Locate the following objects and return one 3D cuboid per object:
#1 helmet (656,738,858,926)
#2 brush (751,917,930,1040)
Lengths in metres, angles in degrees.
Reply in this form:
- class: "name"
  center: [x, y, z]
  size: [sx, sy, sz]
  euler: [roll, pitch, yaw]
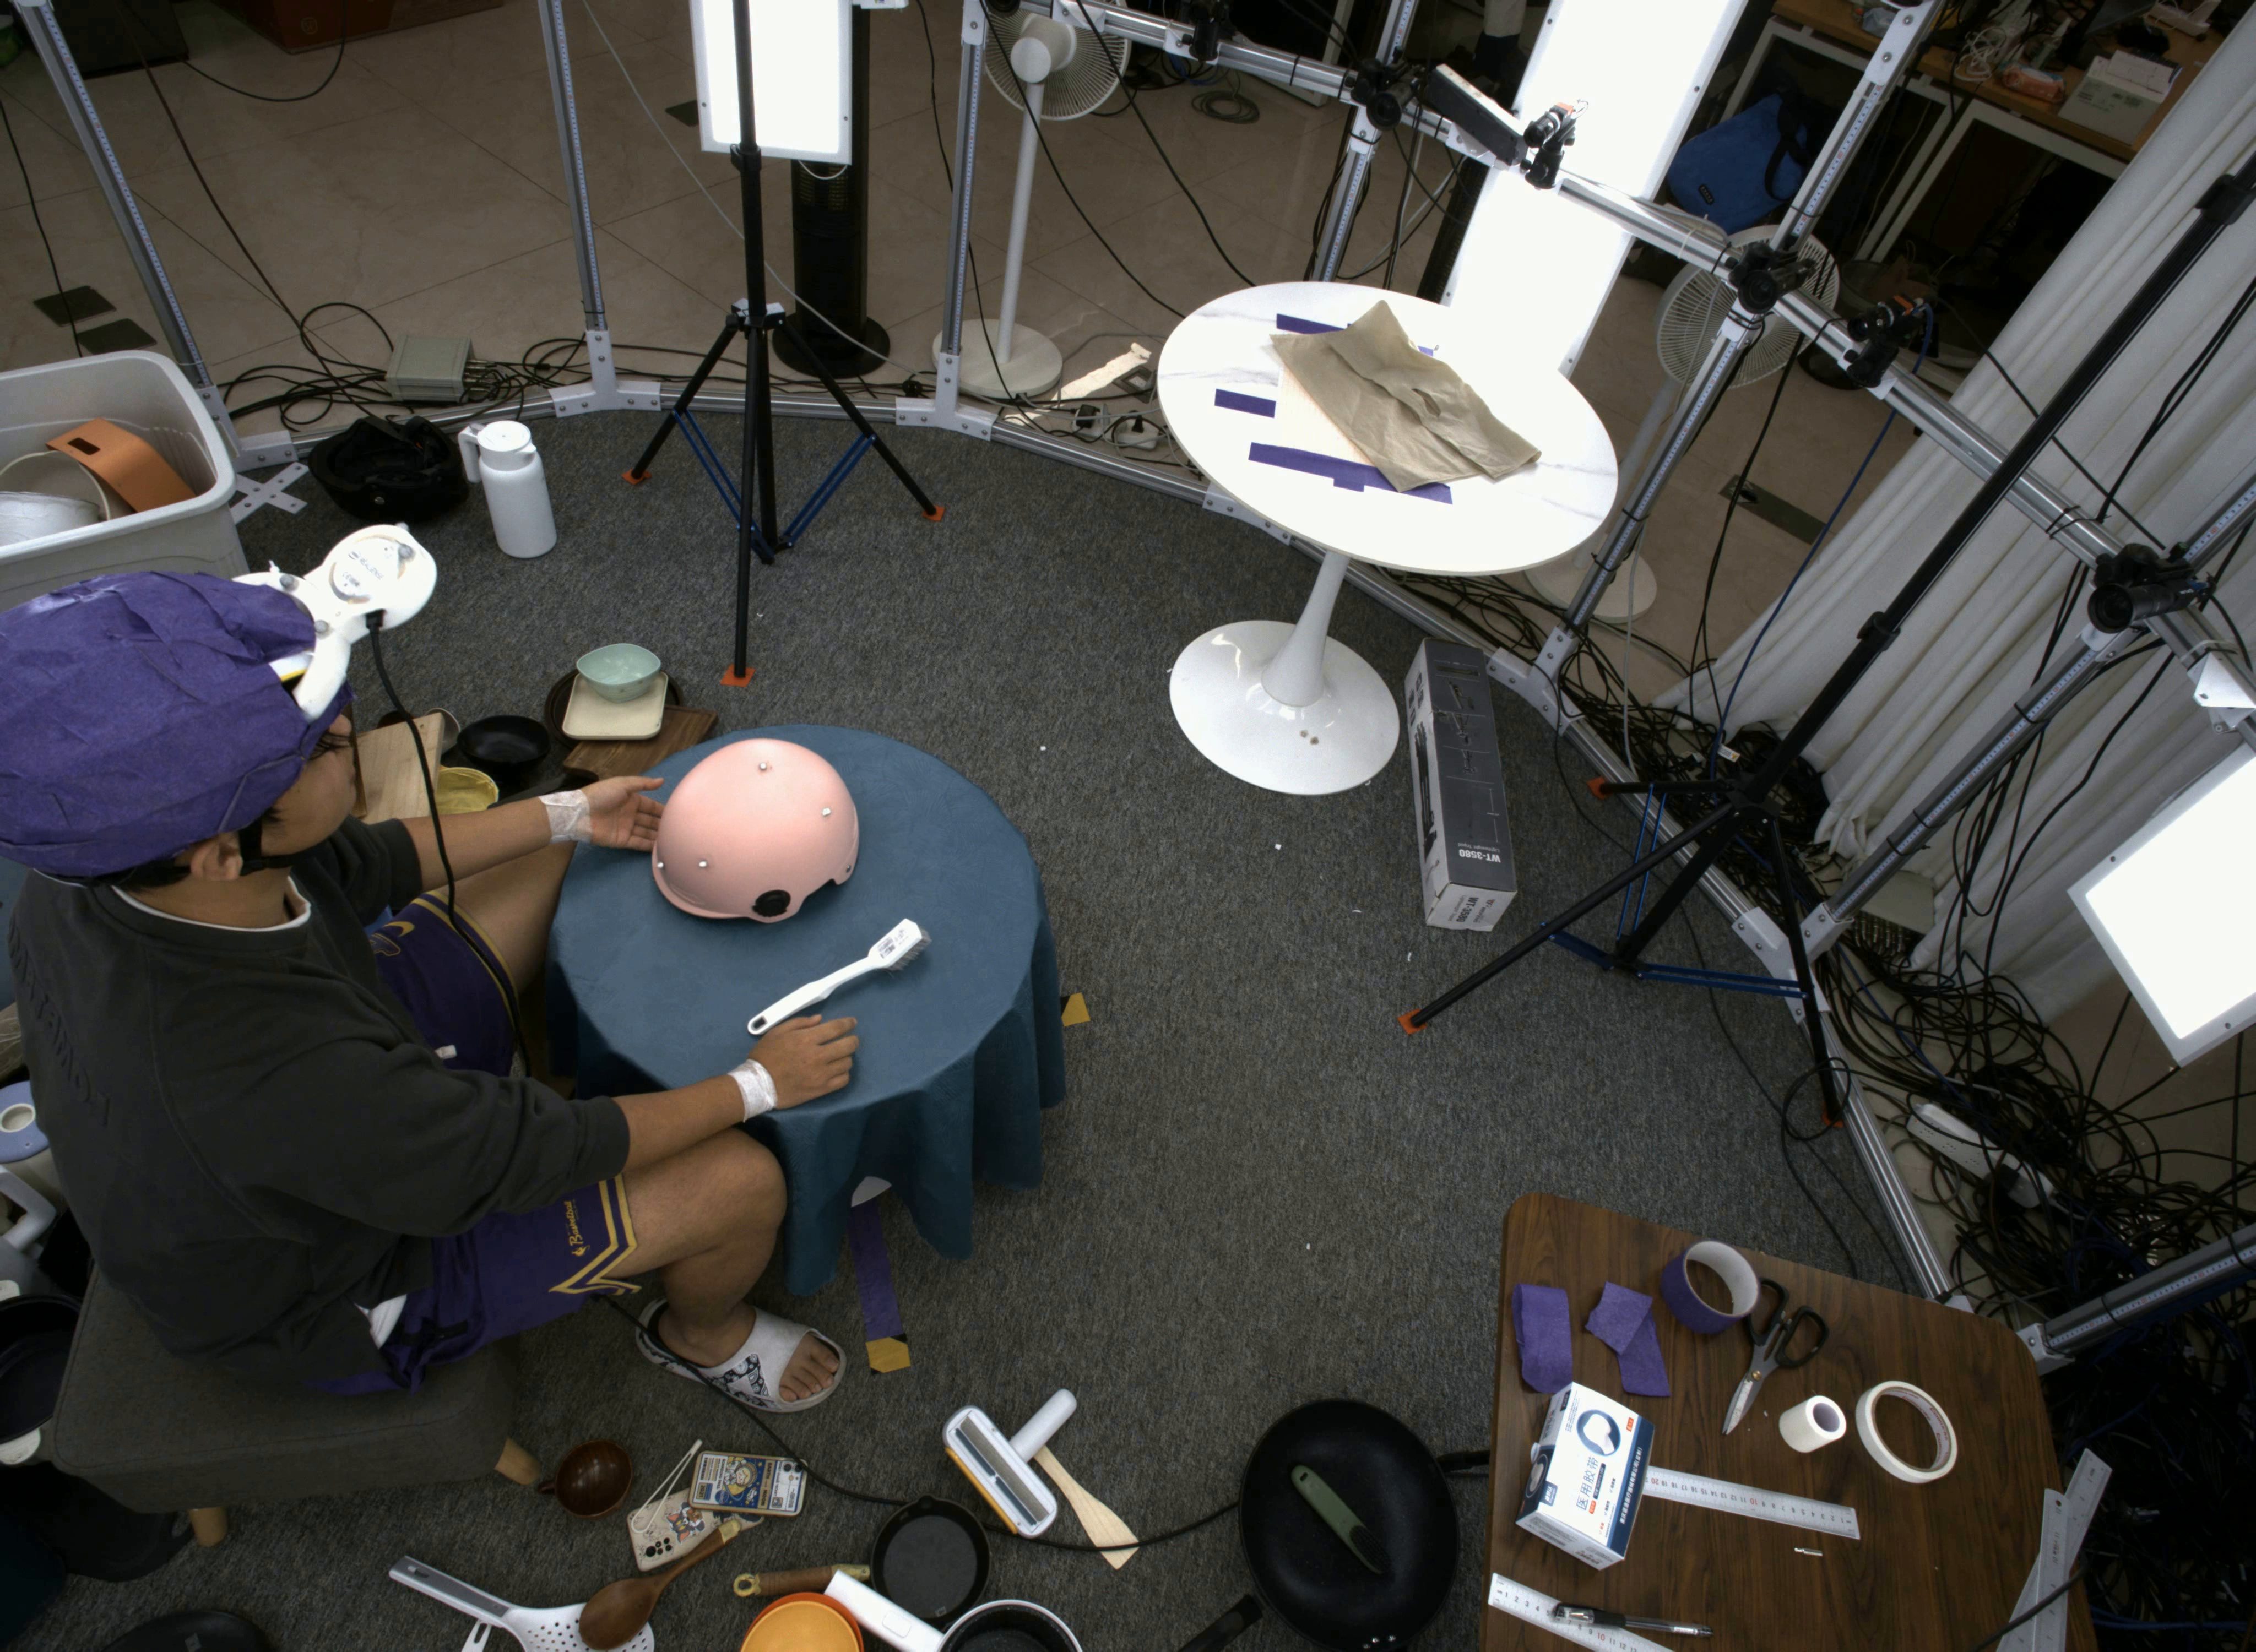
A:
- class: "helmet"
  center: [-0.474, -0.012, 1.628]
  size: [0.267, 0.162, 0.228]
  euler: [-27, 64, -24]
- class: "brush"
  center: [-0.350, 0.191, 1.591]
  size: [0.243, 0.052, 0.033]
  euler: [-35, 61, -18]
